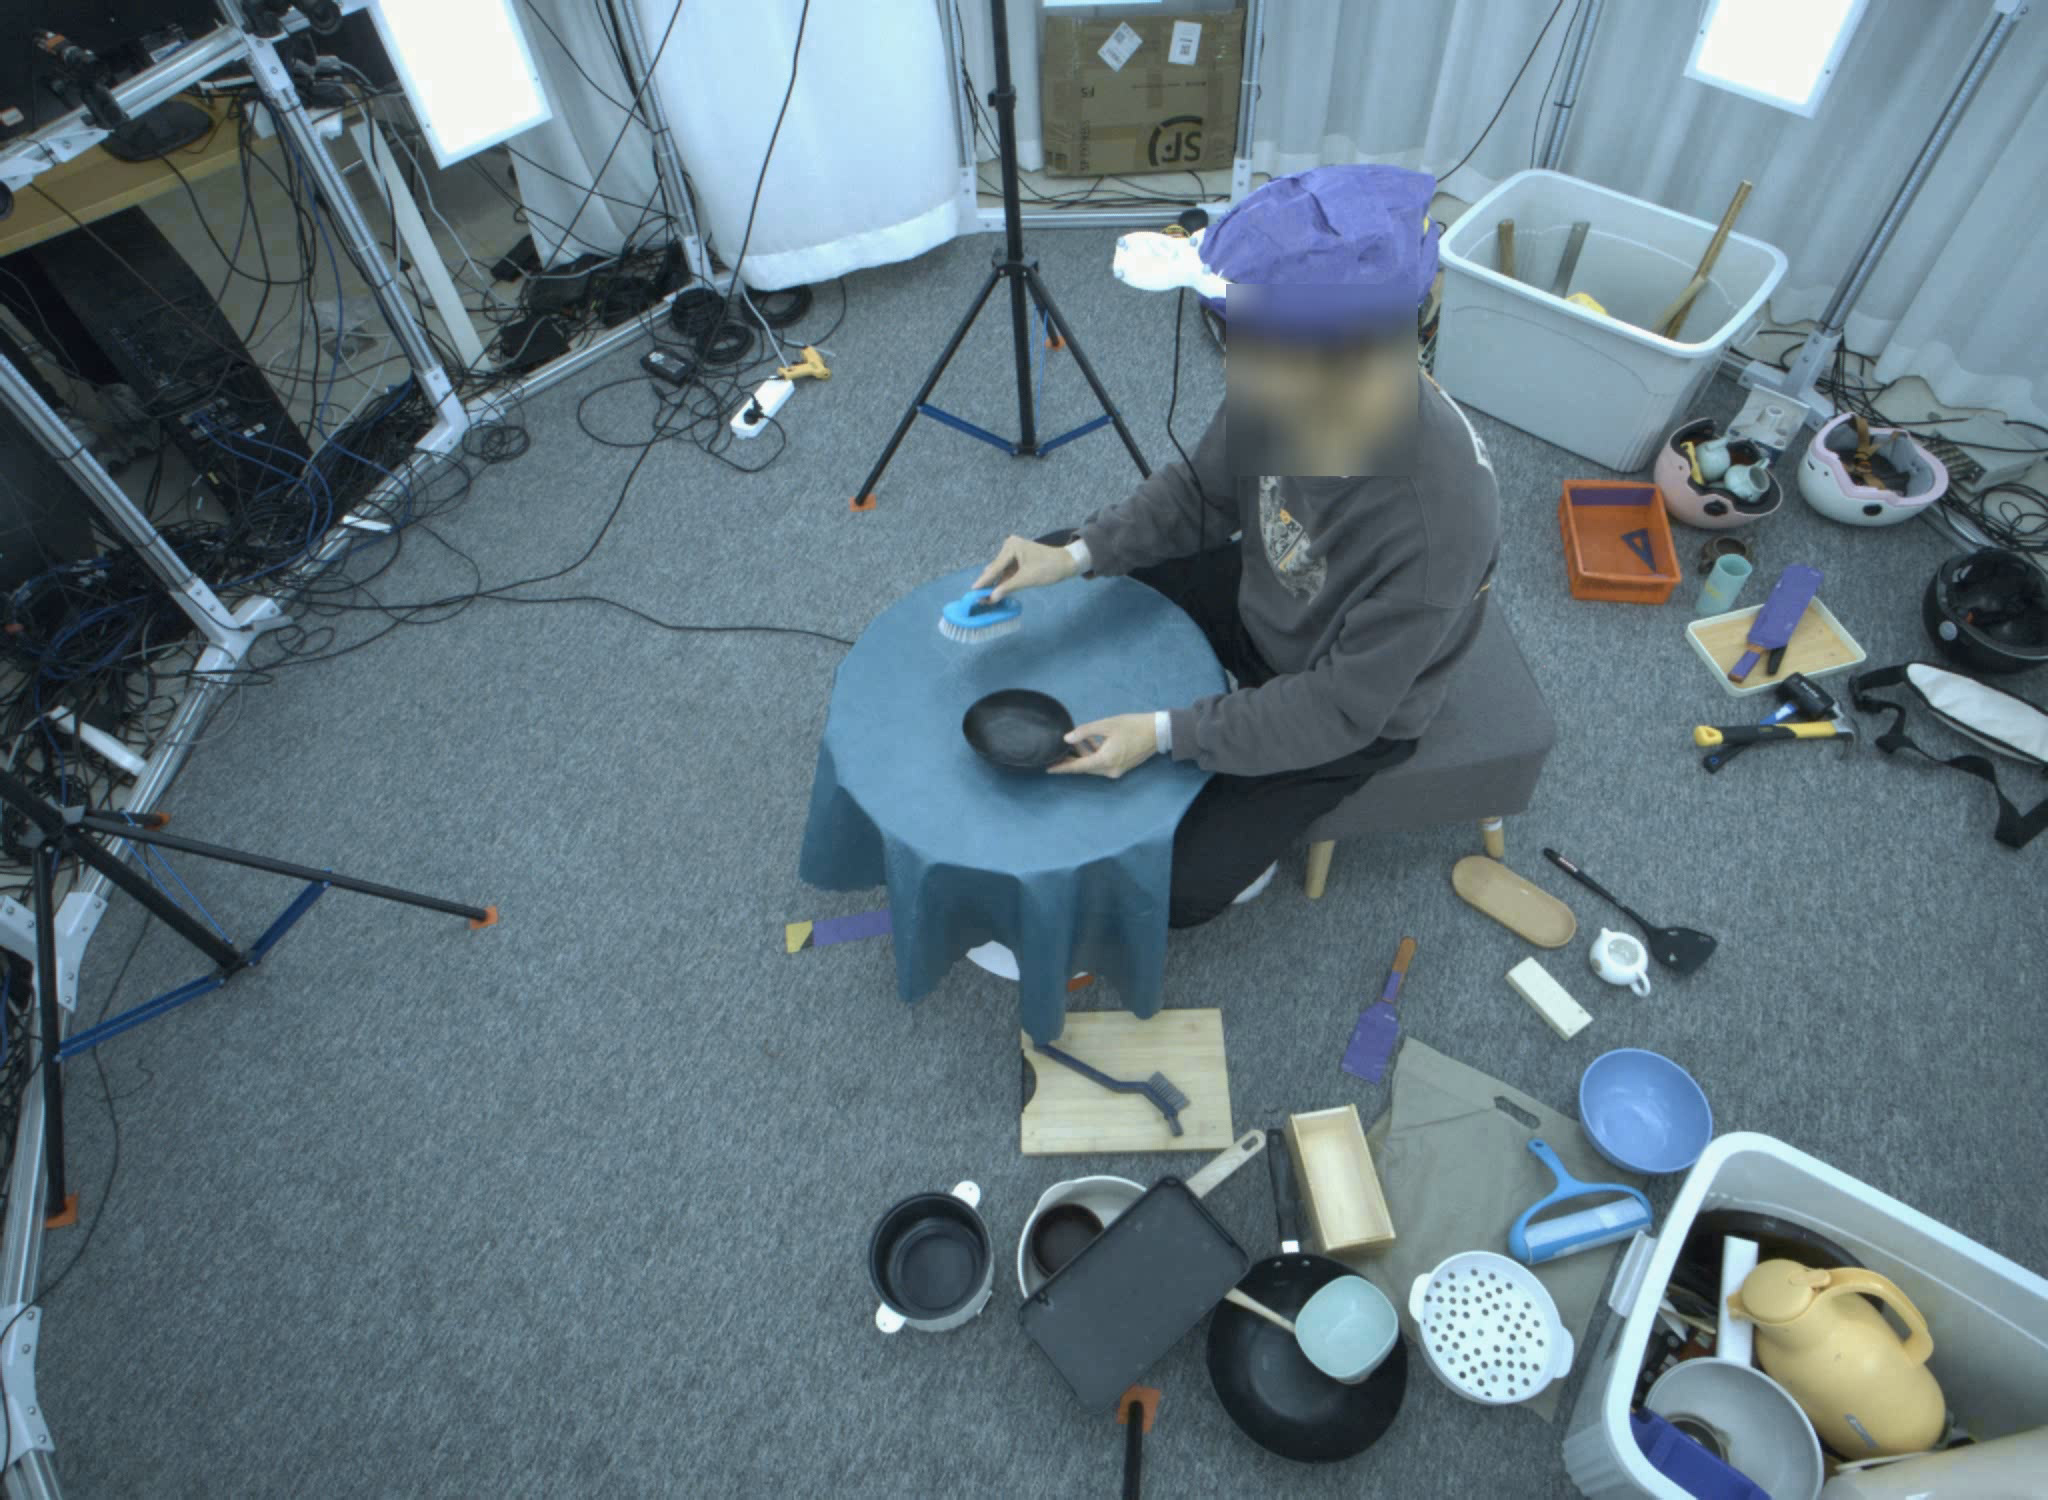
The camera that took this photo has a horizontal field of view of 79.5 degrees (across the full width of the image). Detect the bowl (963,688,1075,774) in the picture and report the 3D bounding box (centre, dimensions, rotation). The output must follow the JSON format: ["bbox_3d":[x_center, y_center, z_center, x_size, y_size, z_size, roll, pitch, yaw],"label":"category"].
[{"bbox_3d":[-0.007,-0.017,1.758,0.168,0.067,0.137,19,57,17],"label":"bowl"}]

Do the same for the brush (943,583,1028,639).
[{"bbox_3d":[-0.058,-0.212,1.811,0.144,0.064,0.082,-18,39,-42],"label":"brush"}]
